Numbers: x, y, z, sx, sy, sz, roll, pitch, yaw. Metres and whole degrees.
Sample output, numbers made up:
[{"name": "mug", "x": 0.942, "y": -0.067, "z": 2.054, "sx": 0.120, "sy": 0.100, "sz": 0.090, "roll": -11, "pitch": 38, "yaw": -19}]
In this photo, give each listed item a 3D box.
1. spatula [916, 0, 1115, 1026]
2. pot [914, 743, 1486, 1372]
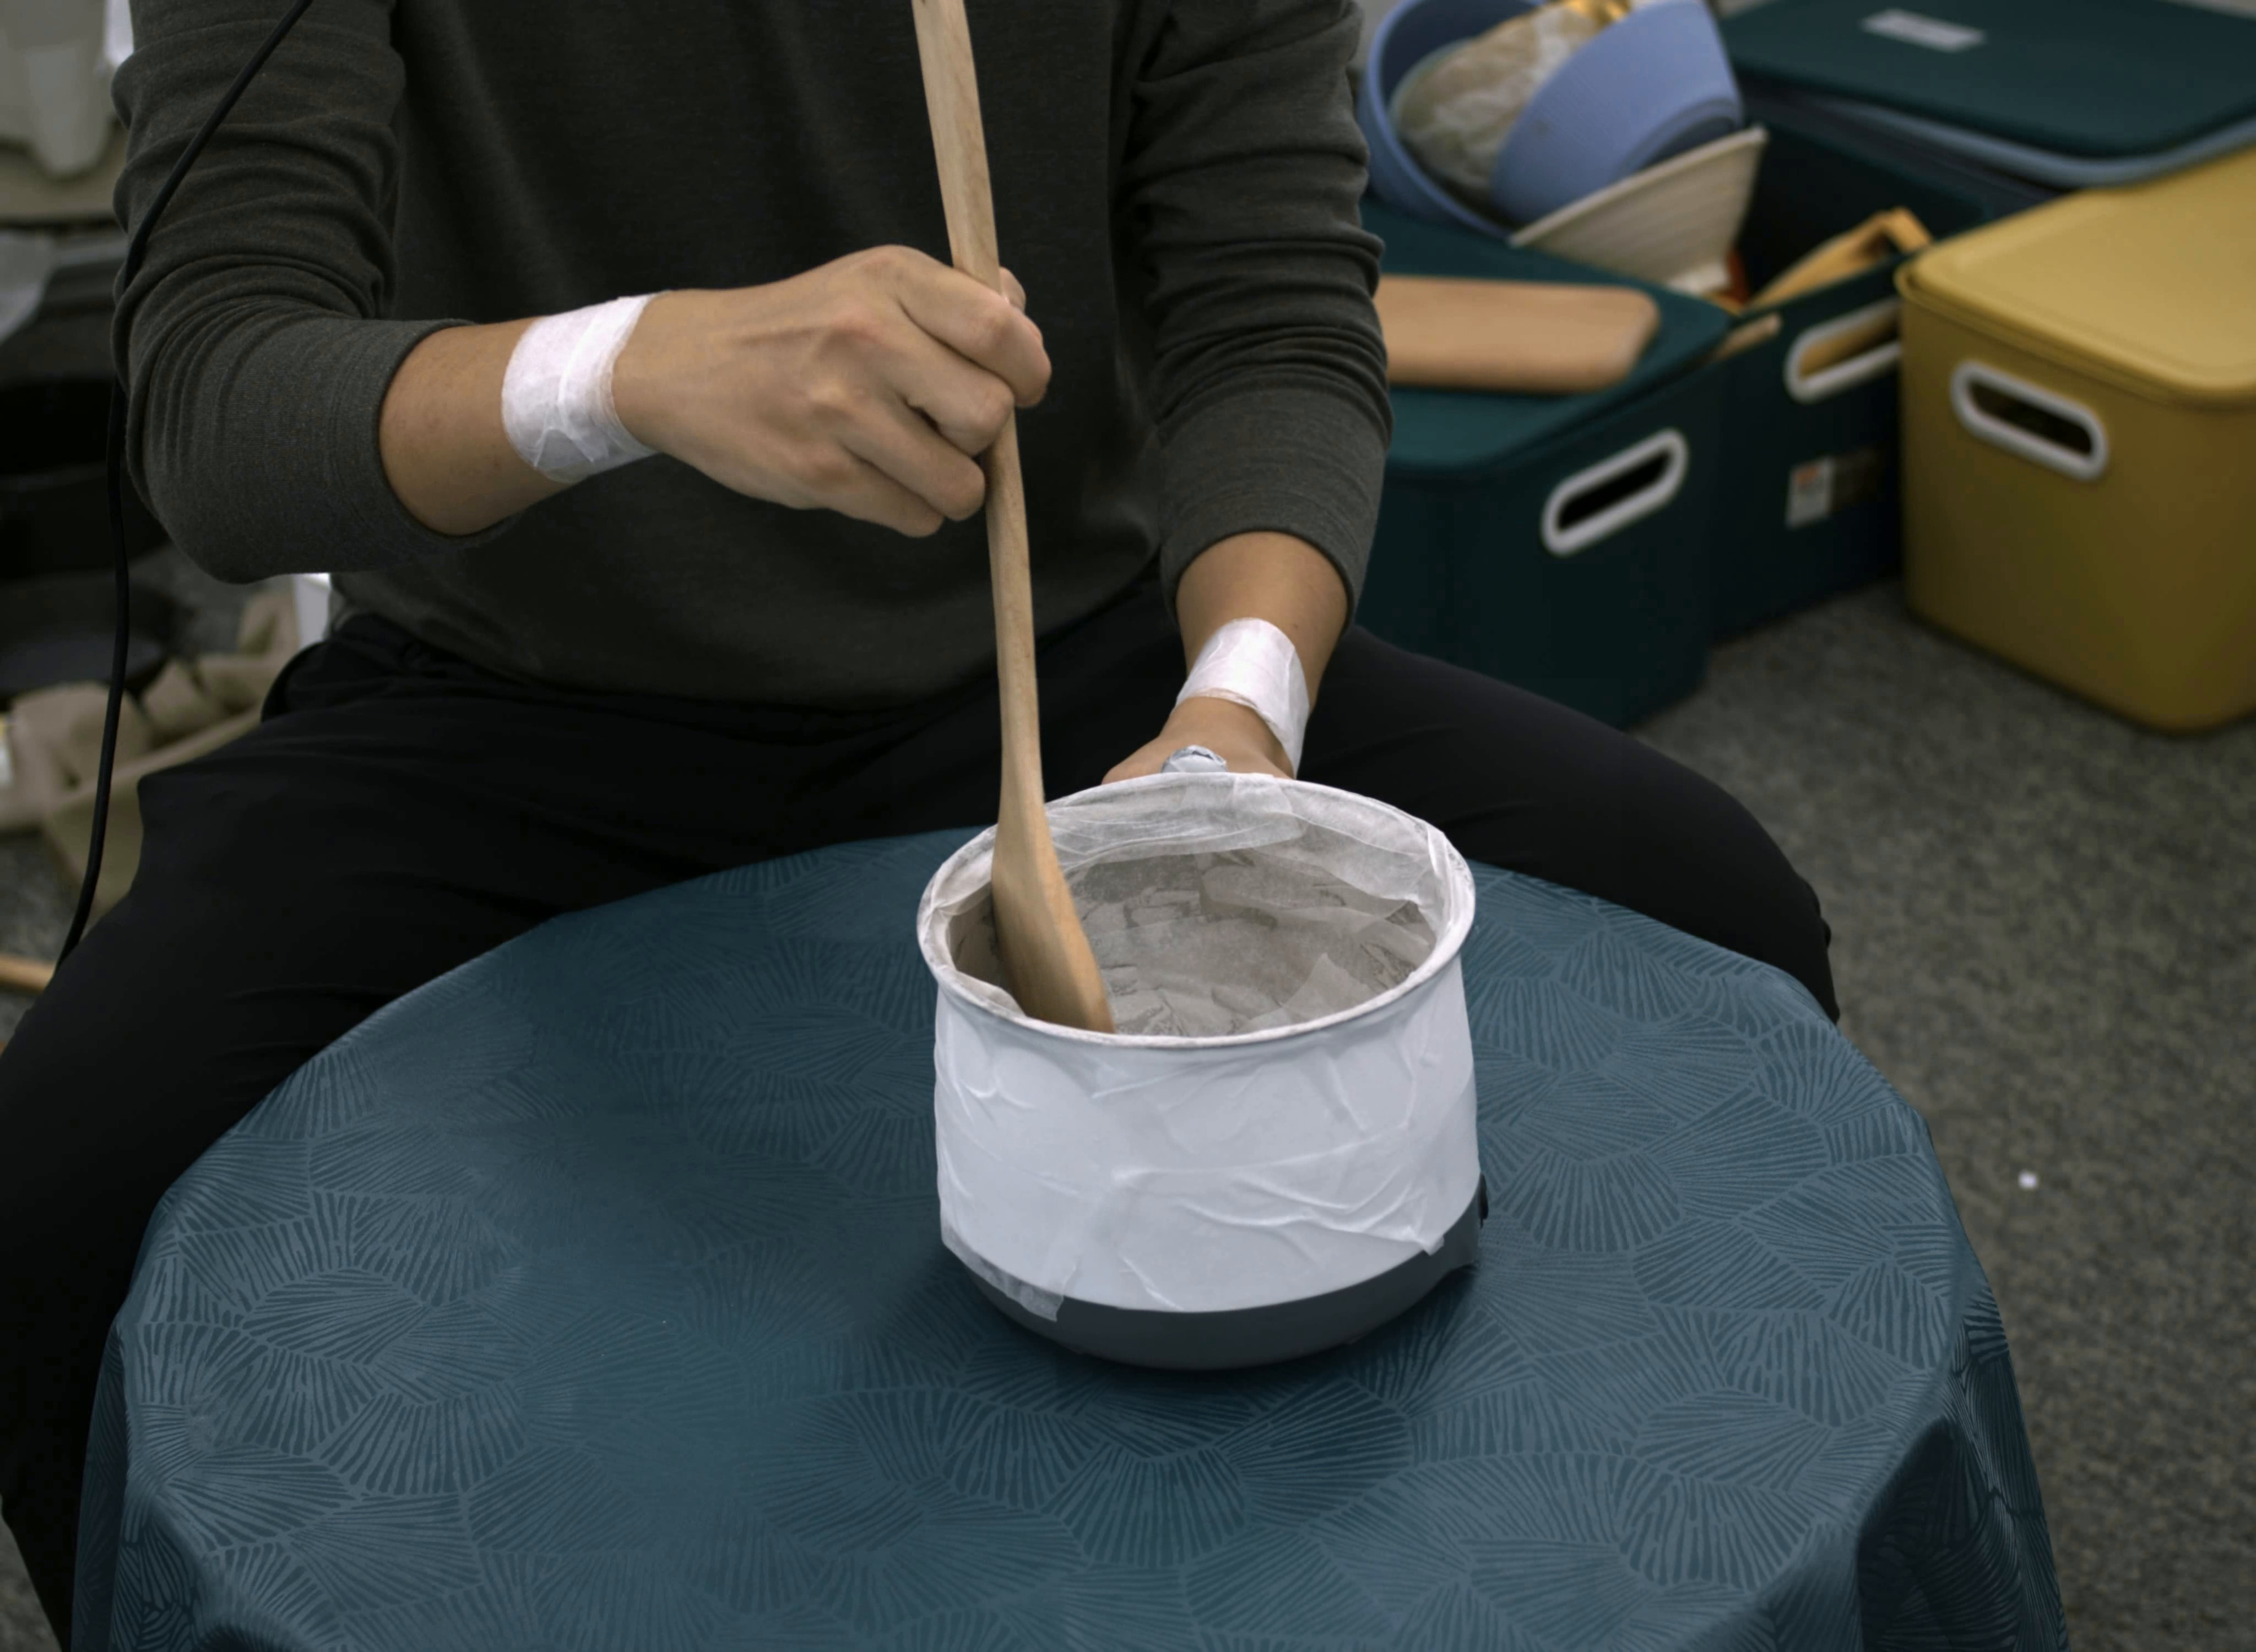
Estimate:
[{"name": "spatula", "x": -0.036, "y": -0.087, "z": 1.736, "sx": 0.018, "sy": 0.388, "sz": 0.096, "roll": -11, "pitch": 18, "yaw": -17}, {"name": "pot", "x": 0.024, "y": 0.067, "z": 1.818, "sx": 0.178, "sy": 0.135, "sz": 0.237, "roll": -3, "pitch": 27, "yaw": 0}]
